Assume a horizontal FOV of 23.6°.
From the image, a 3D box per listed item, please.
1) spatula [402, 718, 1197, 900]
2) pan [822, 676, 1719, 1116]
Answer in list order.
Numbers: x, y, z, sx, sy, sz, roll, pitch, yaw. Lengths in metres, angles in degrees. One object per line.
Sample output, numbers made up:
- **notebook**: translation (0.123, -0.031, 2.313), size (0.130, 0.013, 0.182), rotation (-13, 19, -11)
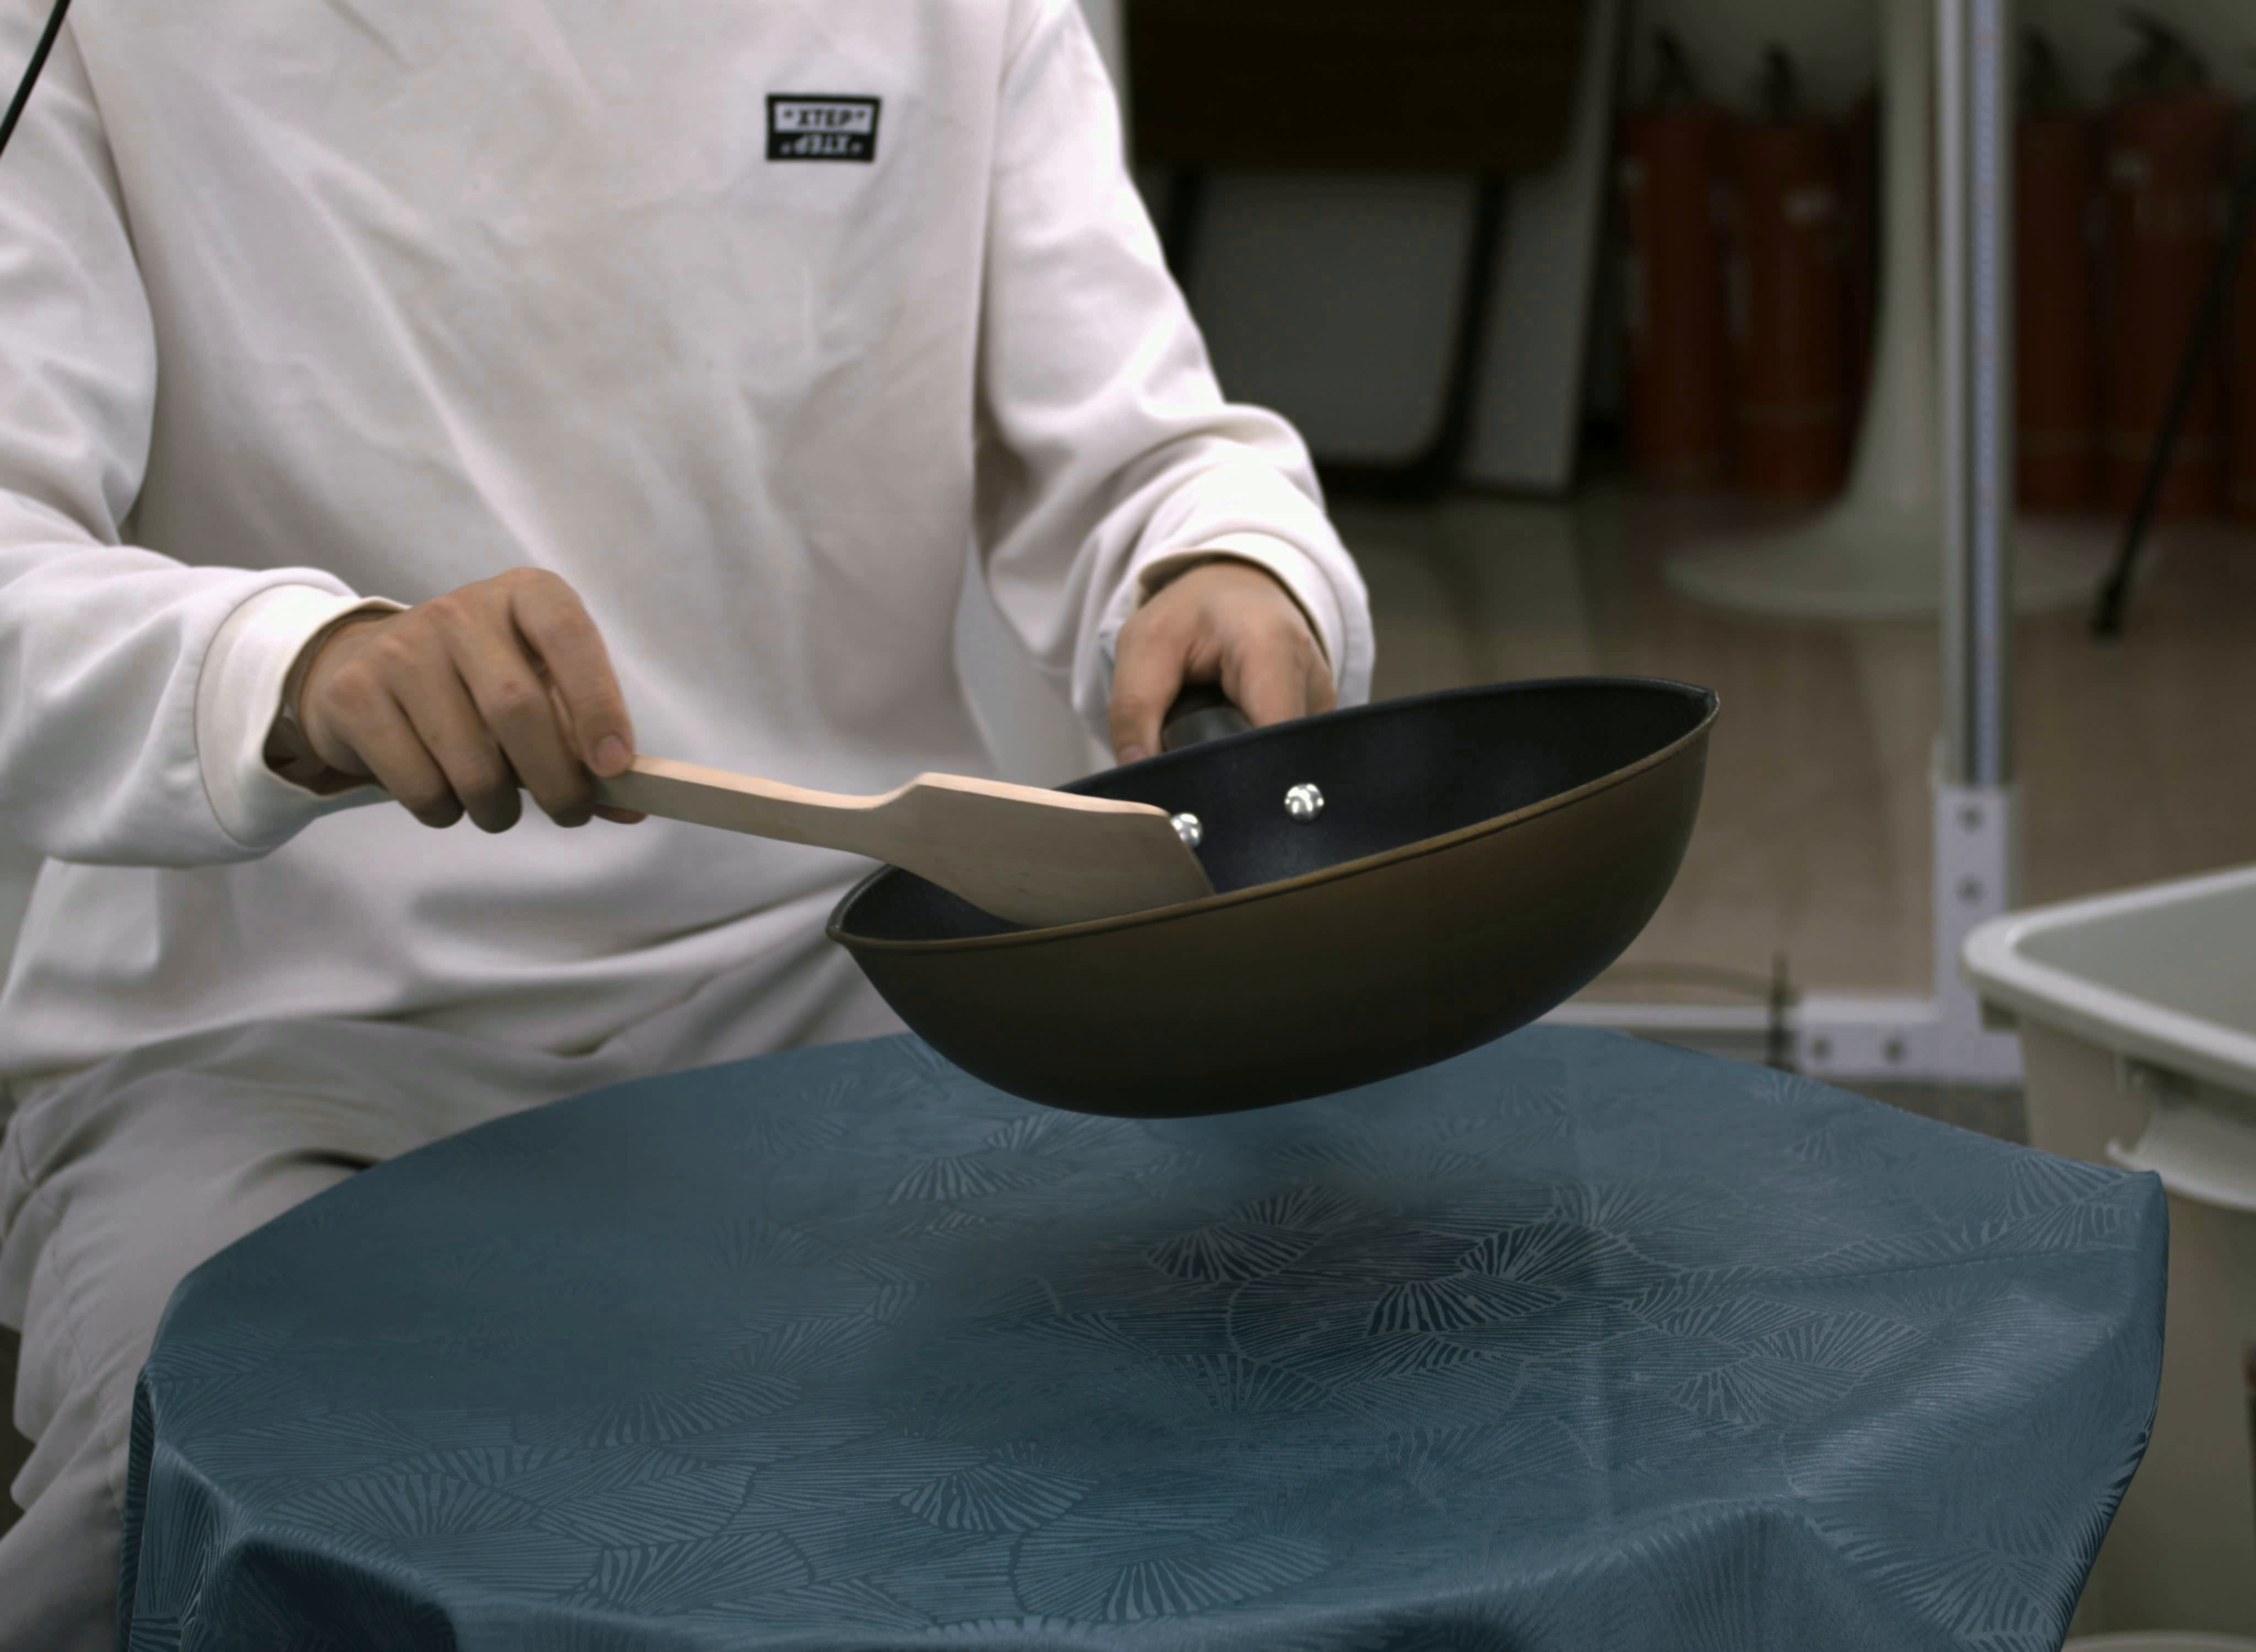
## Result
- **spatula**: translation (-0.104, -0.006, 1.644), size (0.294, 0.072, 0.010), rotation (9, 56, 31)
- **pan**: translation (0.044, 0.016, 1.754), size (0.284, 0.088, 0.464), rotation (-15, 8, -2)
